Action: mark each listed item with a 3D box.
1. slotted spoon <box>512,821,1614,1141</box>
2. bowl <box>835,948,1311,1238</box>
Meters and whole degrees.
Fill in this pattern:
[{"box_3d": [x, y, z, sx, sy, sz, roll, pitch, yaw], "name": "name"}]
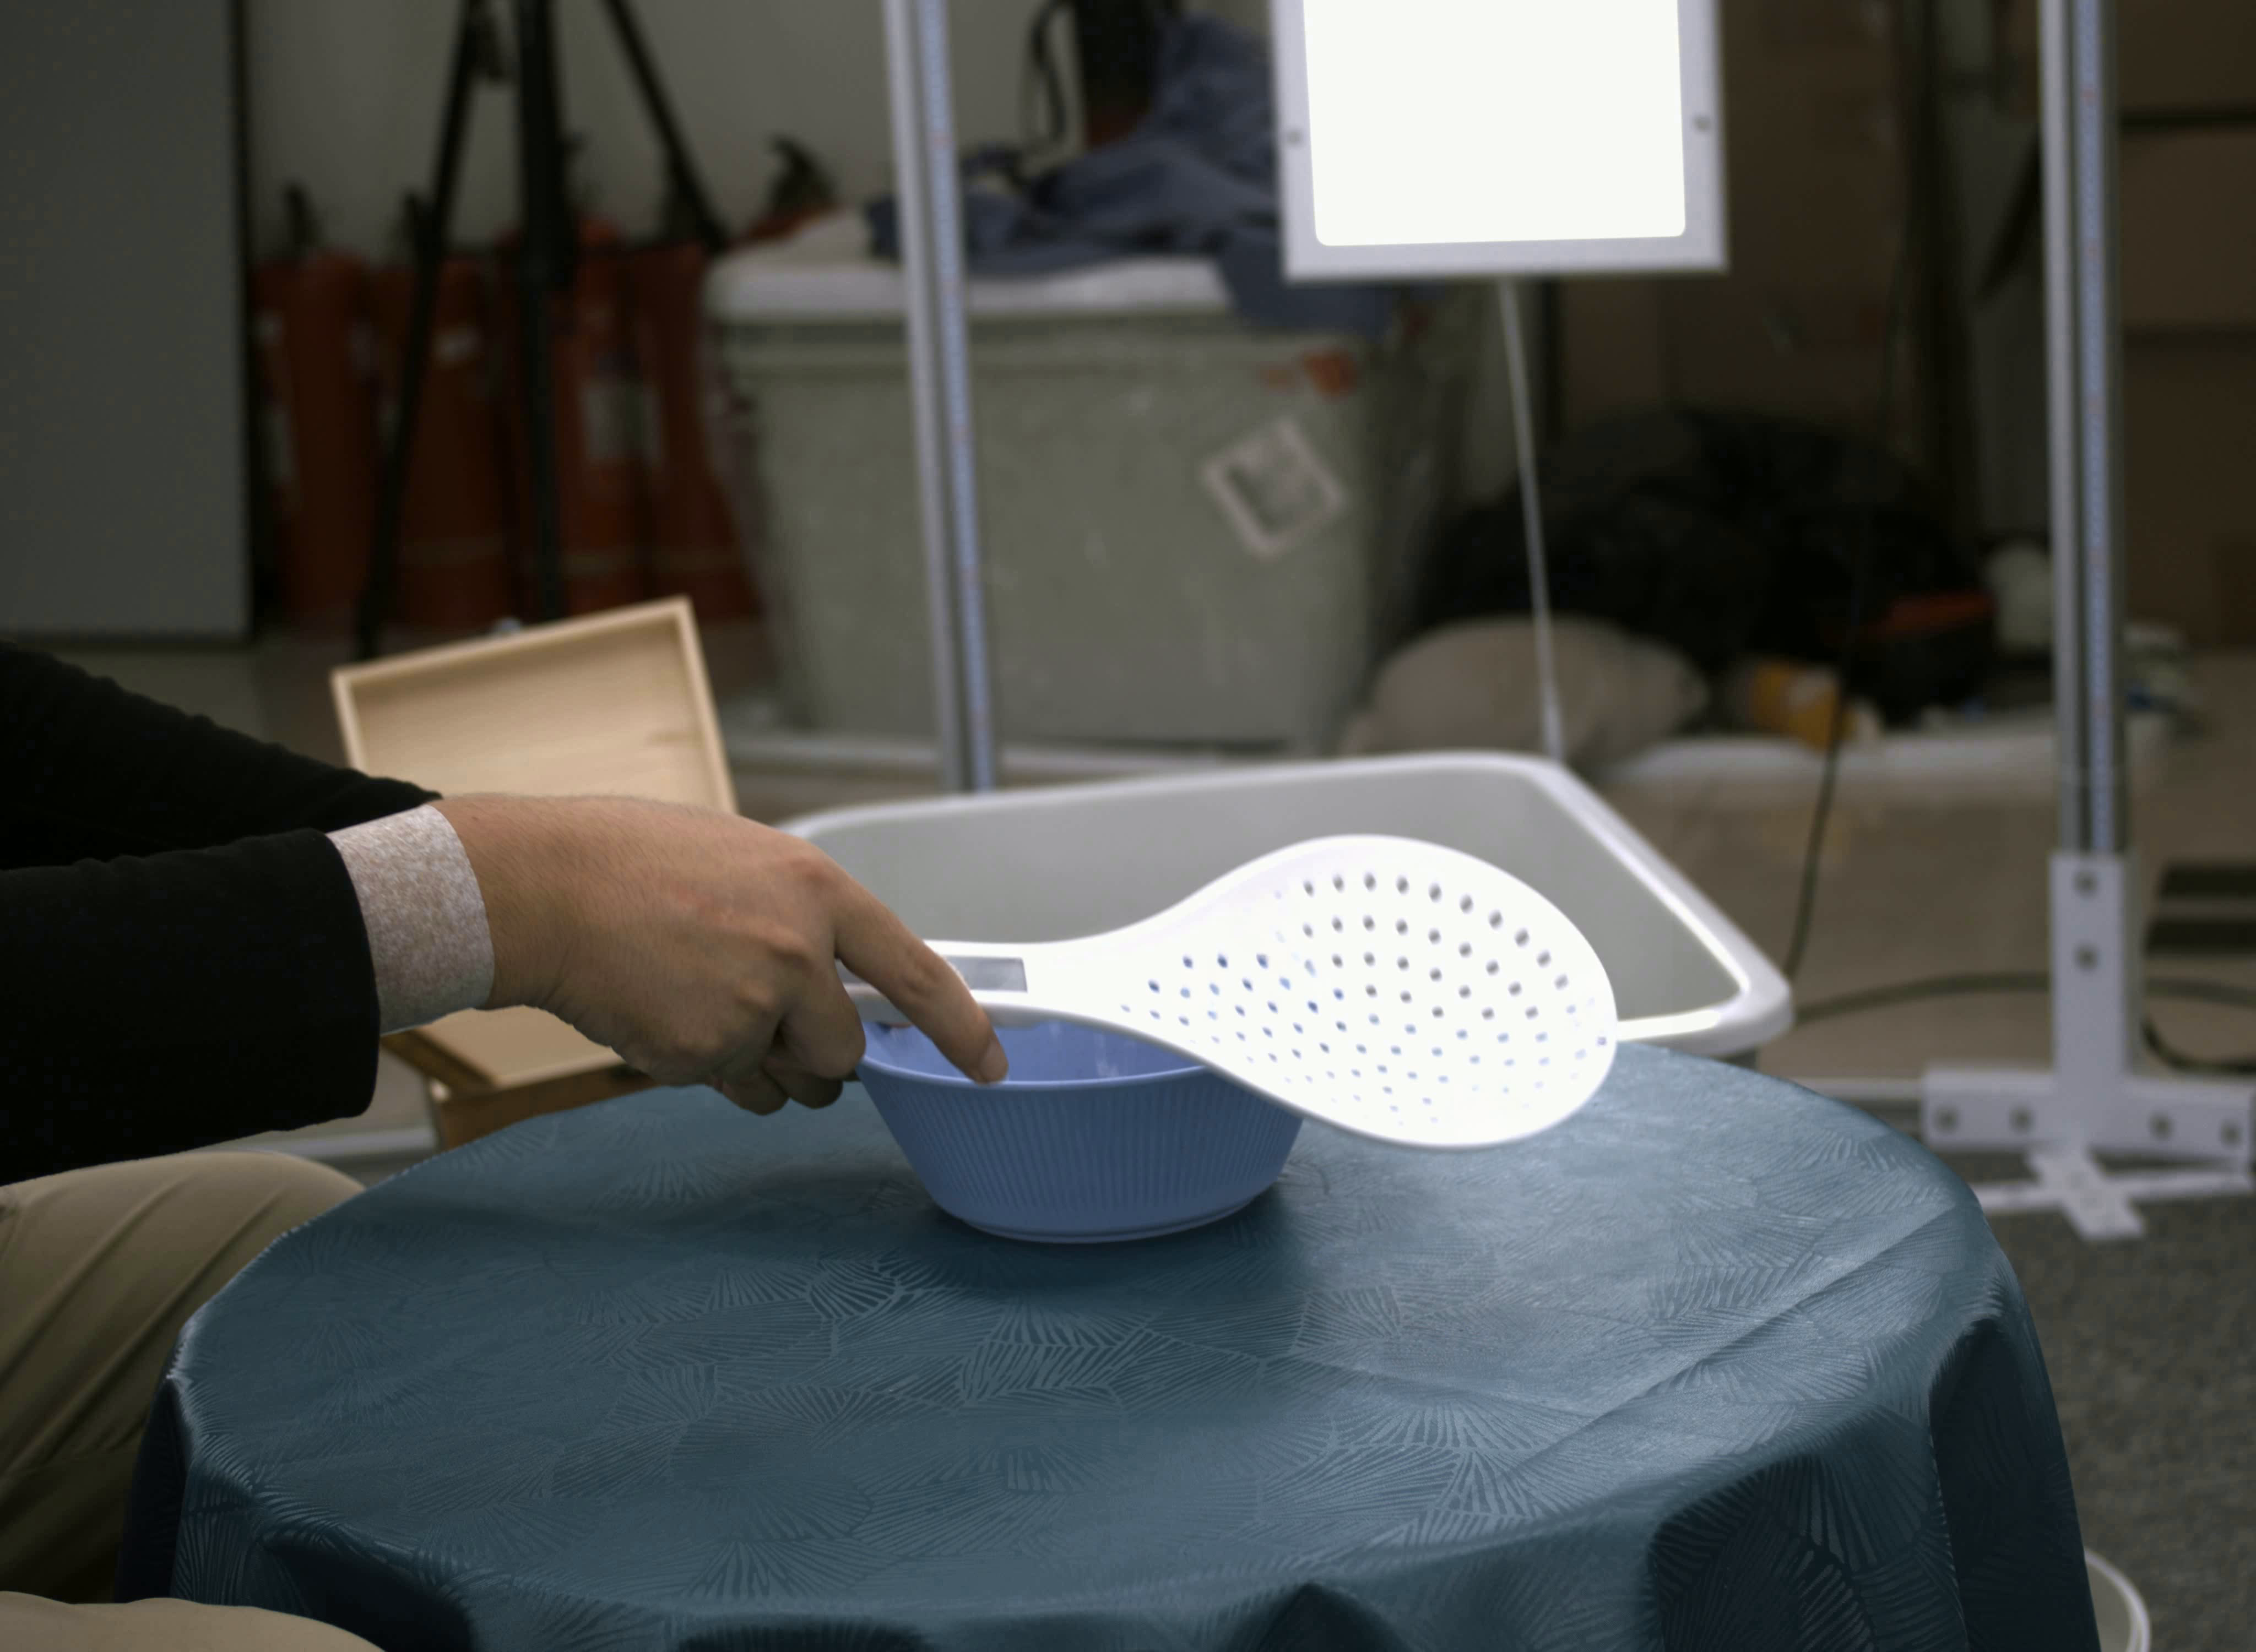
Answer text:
[{"box_3d": [-0.018, 0.048, 1.723, 0.345, 0.046, 0.136, 5, 44, -14], "name": "slotted spoon"}, {"box_3d": [-0.010, 0.093, 1.888, 0.175, 0.070, 0.176, -6, 13, 0], "name": "bowl"}]
